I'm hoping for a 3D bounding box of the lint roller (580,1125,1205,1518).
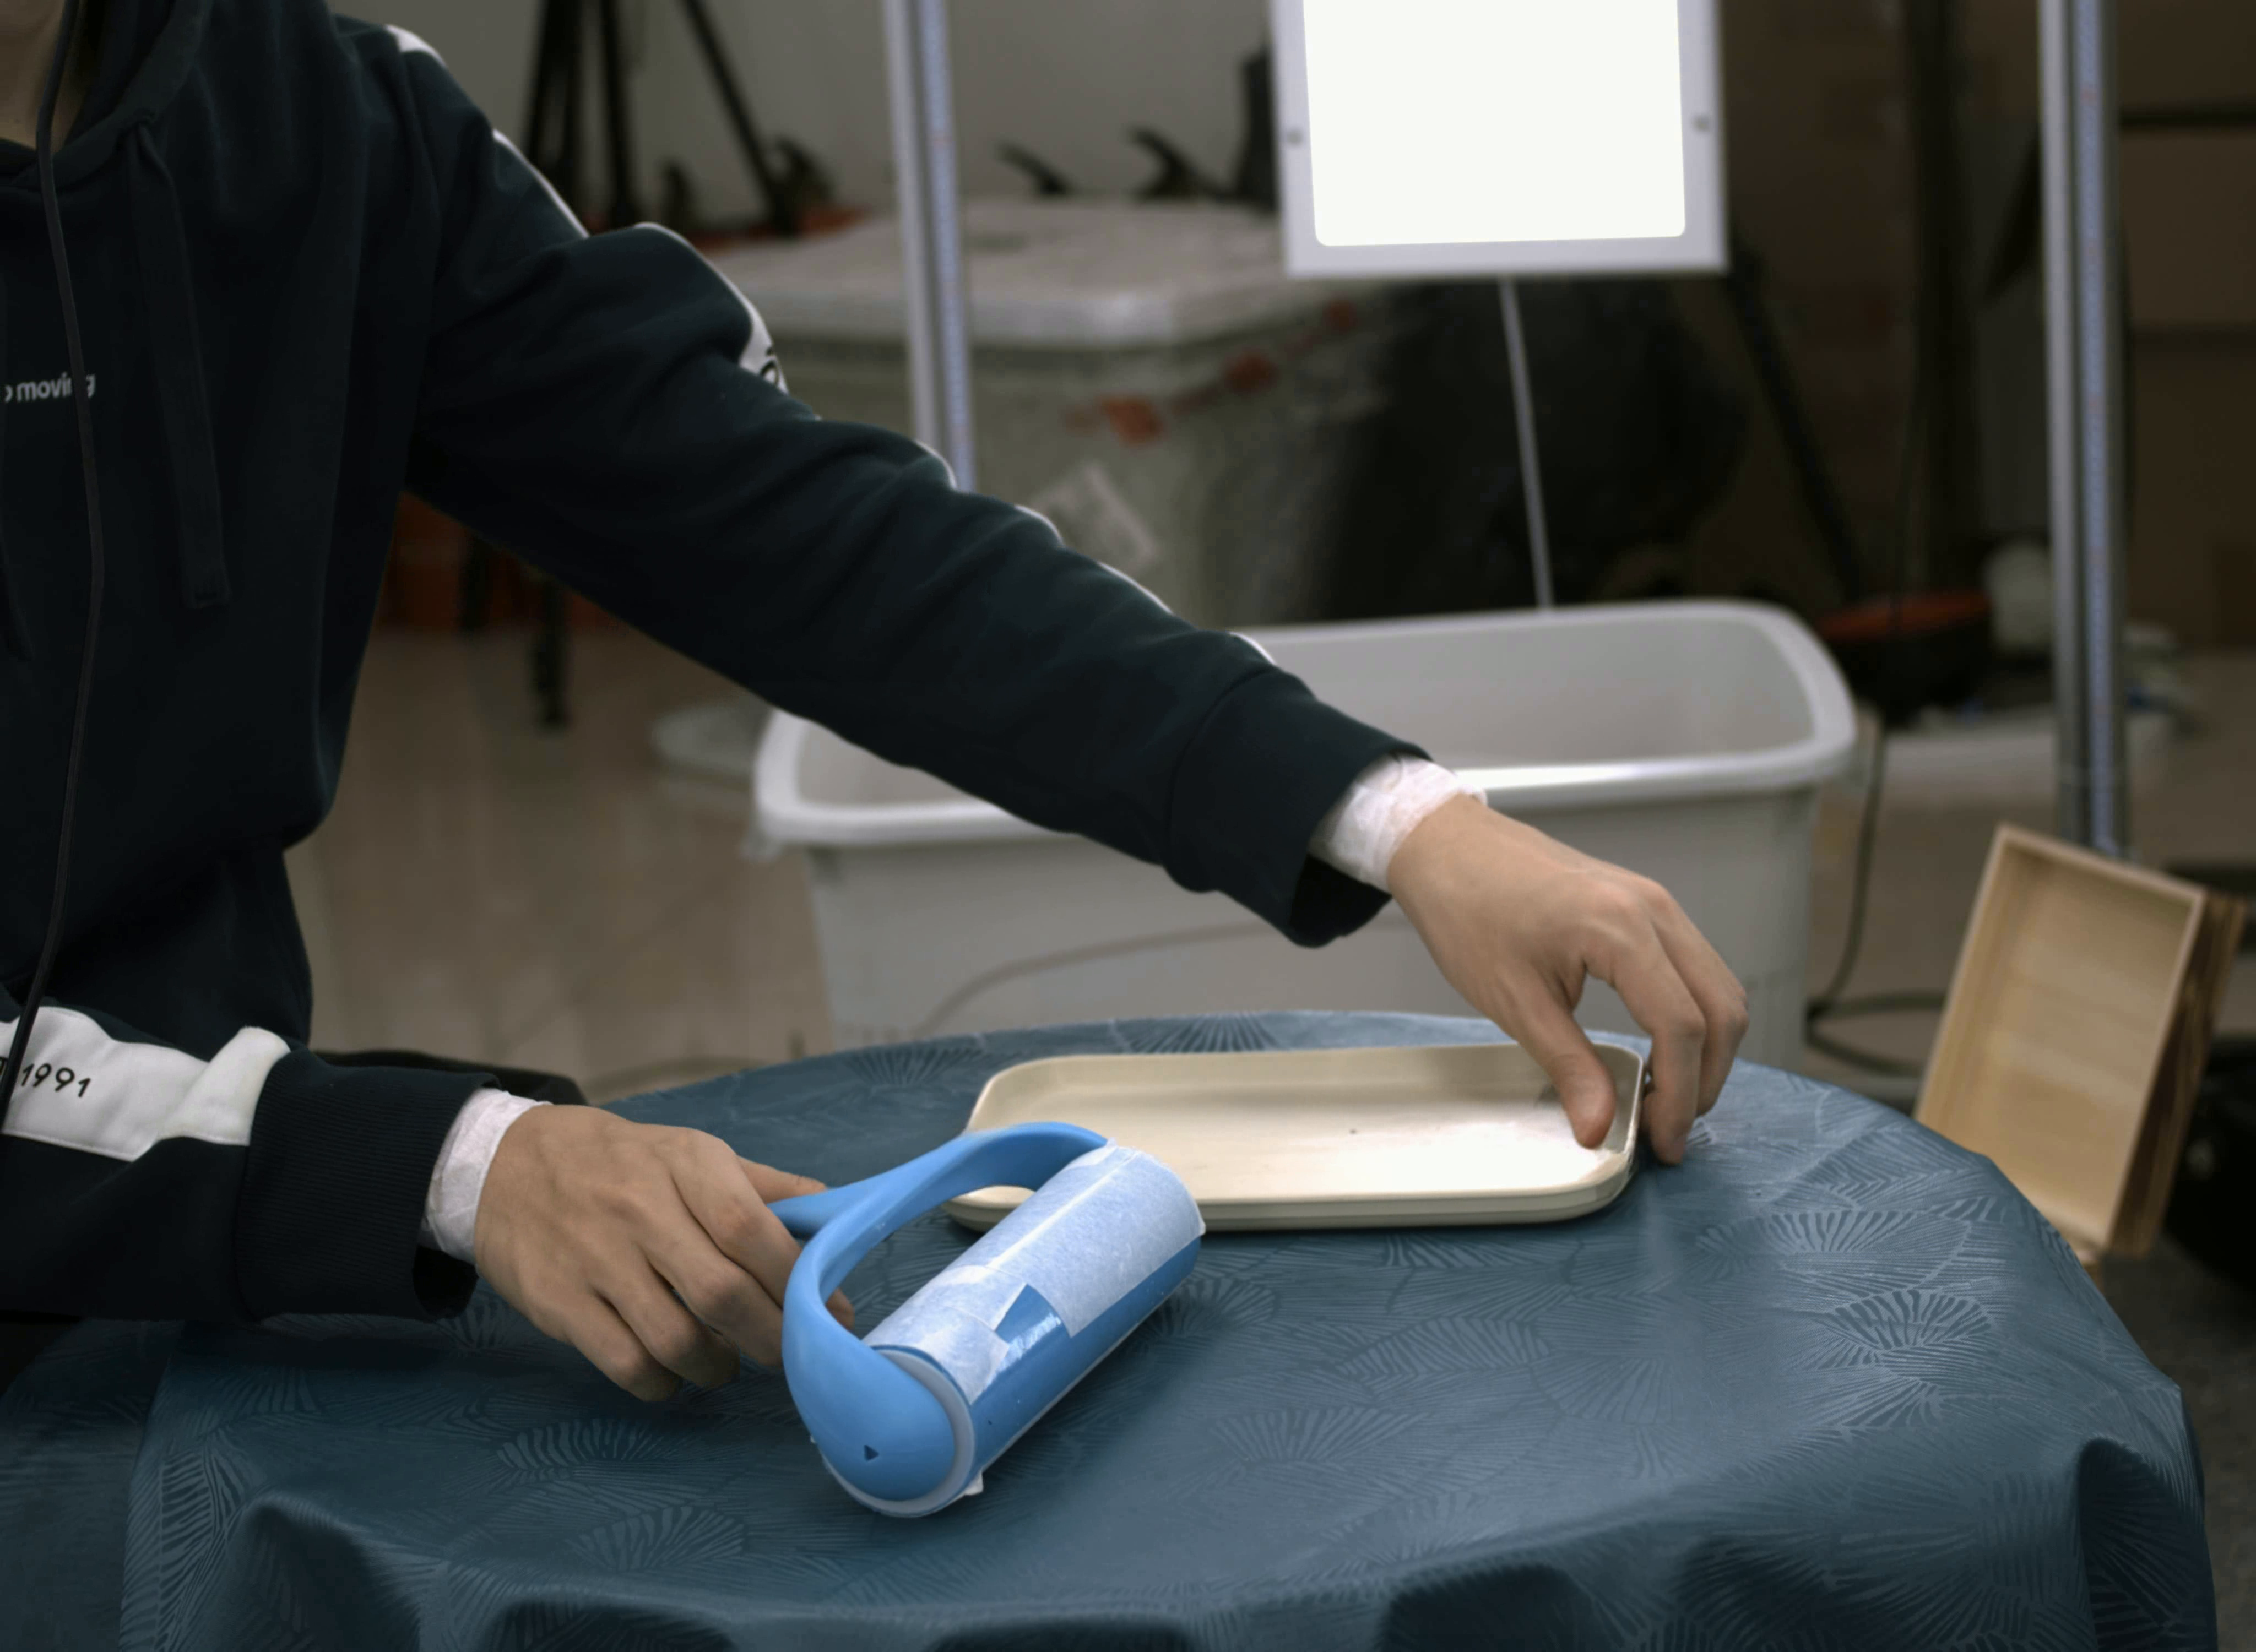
[{"bbox_3d":[-0.089,0.148,1.709,0.182,0.068,0.225,4,17,19],"label":"lint roller"}]

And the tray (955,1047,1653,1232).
[{"bbox_3d":[0.061,0.110,1.905,0.241,0.017,0.169,-3,13,11],"label":"tray"}]
